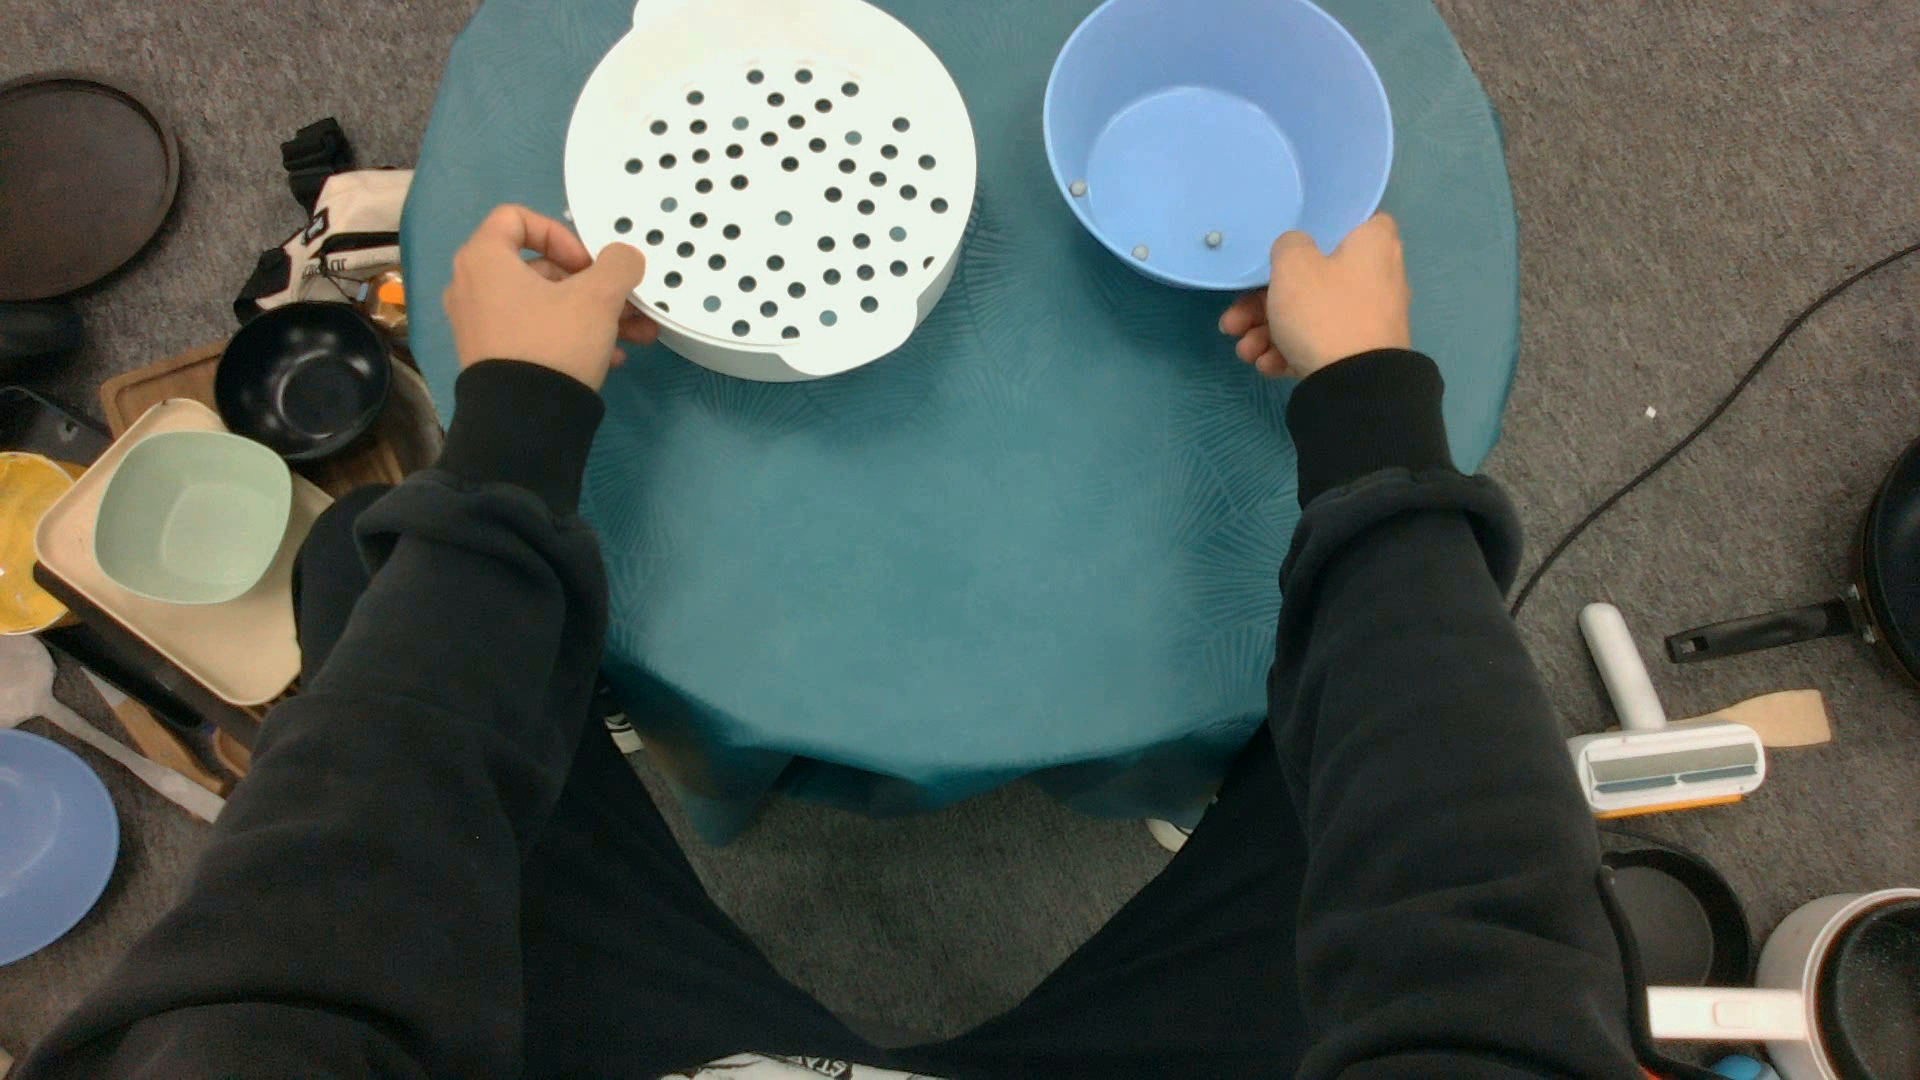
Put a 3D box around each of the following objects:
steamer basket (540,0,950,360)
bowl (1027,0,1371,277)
[{"bbox_3d":[-0.107,-0.190,0.708,0.202,0.069,0.231,-23,76,-9],"label":"steamer basket"},{"bbox_3d":[0.120,-0.208,0.725,0.176,0.070,0.176,1,76,-2],"label":"bowl"}]
